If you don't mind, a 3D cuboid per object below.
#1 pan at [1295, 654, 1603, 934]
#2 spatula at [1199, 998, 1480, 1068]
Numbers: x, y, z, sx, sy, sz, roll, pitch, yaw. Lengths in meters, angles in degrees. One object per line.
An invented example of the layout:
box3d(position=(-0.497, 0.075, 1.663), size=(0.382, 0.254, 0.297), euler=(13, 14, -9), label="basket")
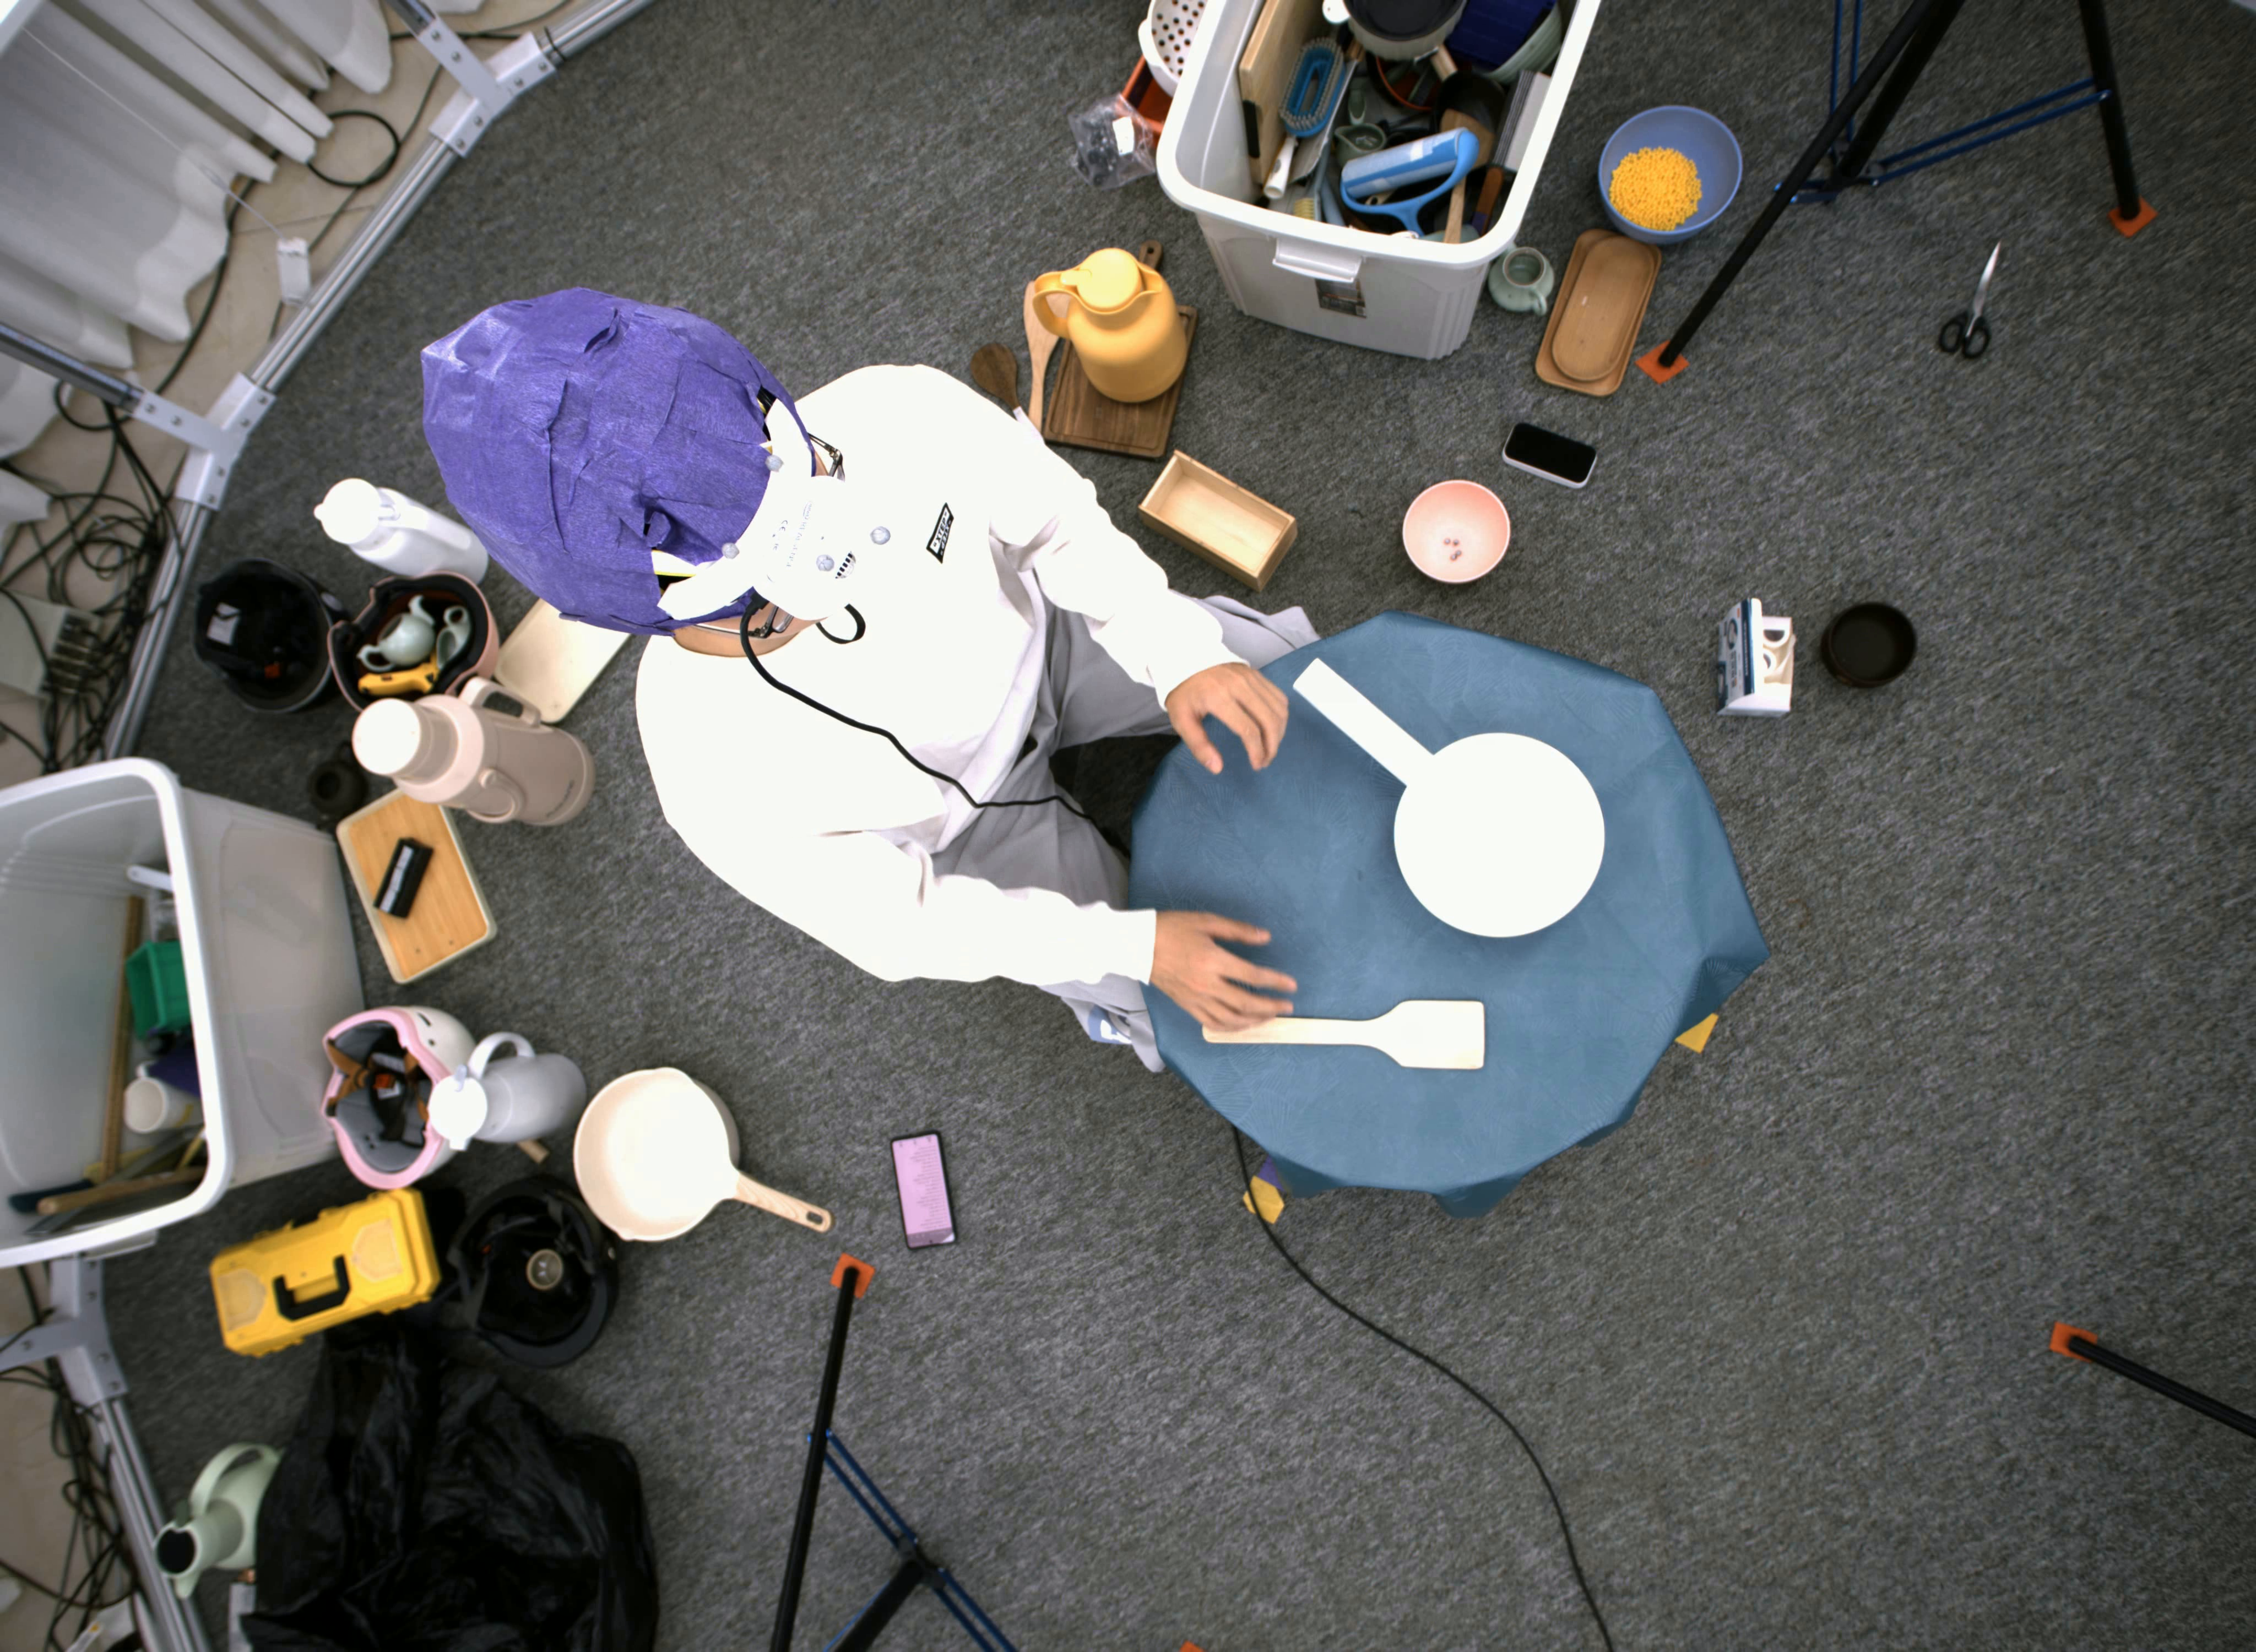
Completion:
box3d(position=(0.315, -0.041, 1.407), size=(0.353, 0.102, 0.202), euler=(42, 95, 11), label="pan")
box3d(position=(0.220, 0.214, 1.456), size=(0.294, 0.010, 0.072), euler=(0, 88, 11), label="spatula")
